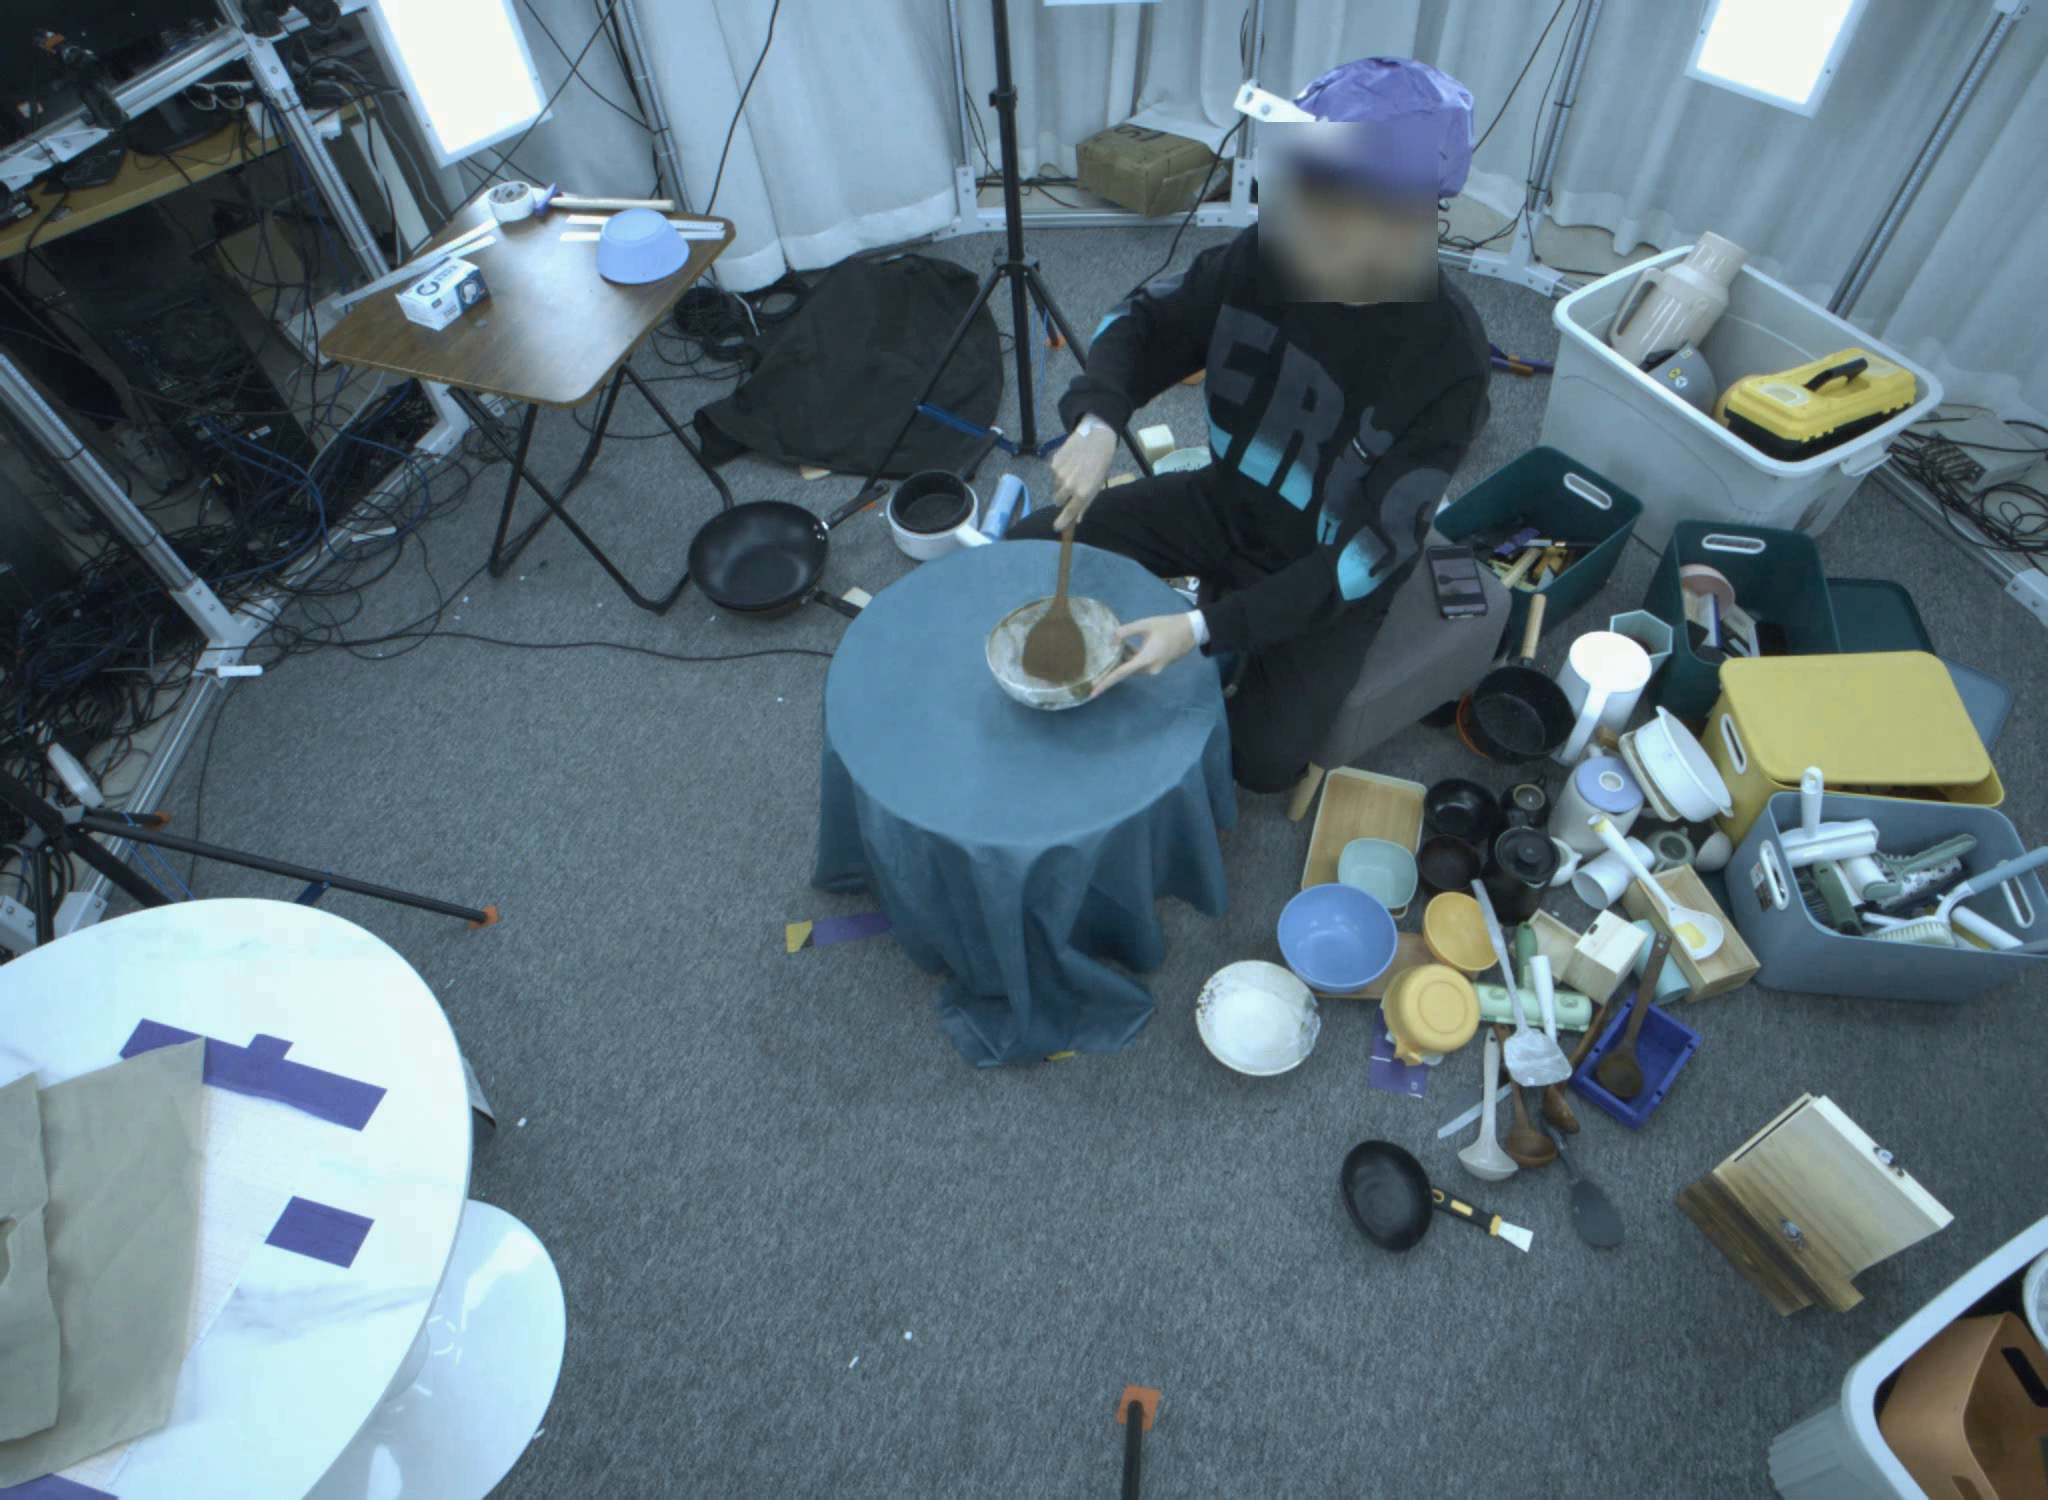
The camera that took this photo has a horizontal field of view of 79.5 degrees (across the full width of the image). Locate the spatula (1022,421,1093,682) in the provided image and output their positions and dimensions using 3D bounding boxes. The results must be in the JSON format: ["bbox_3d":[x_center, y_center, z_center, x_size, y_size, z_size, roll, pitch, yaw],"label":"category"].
[{"bbox_3d":[0.063,-0.289,1.794,0.096,0.387,0.015,6,13,-4],"label":"spatula"}]

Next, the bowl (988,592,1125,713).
[{"bbox_3d":[0.060,-0.130,1.812,0.213,0.096,0.212,-9,52,13],"label":"bowl"}]
